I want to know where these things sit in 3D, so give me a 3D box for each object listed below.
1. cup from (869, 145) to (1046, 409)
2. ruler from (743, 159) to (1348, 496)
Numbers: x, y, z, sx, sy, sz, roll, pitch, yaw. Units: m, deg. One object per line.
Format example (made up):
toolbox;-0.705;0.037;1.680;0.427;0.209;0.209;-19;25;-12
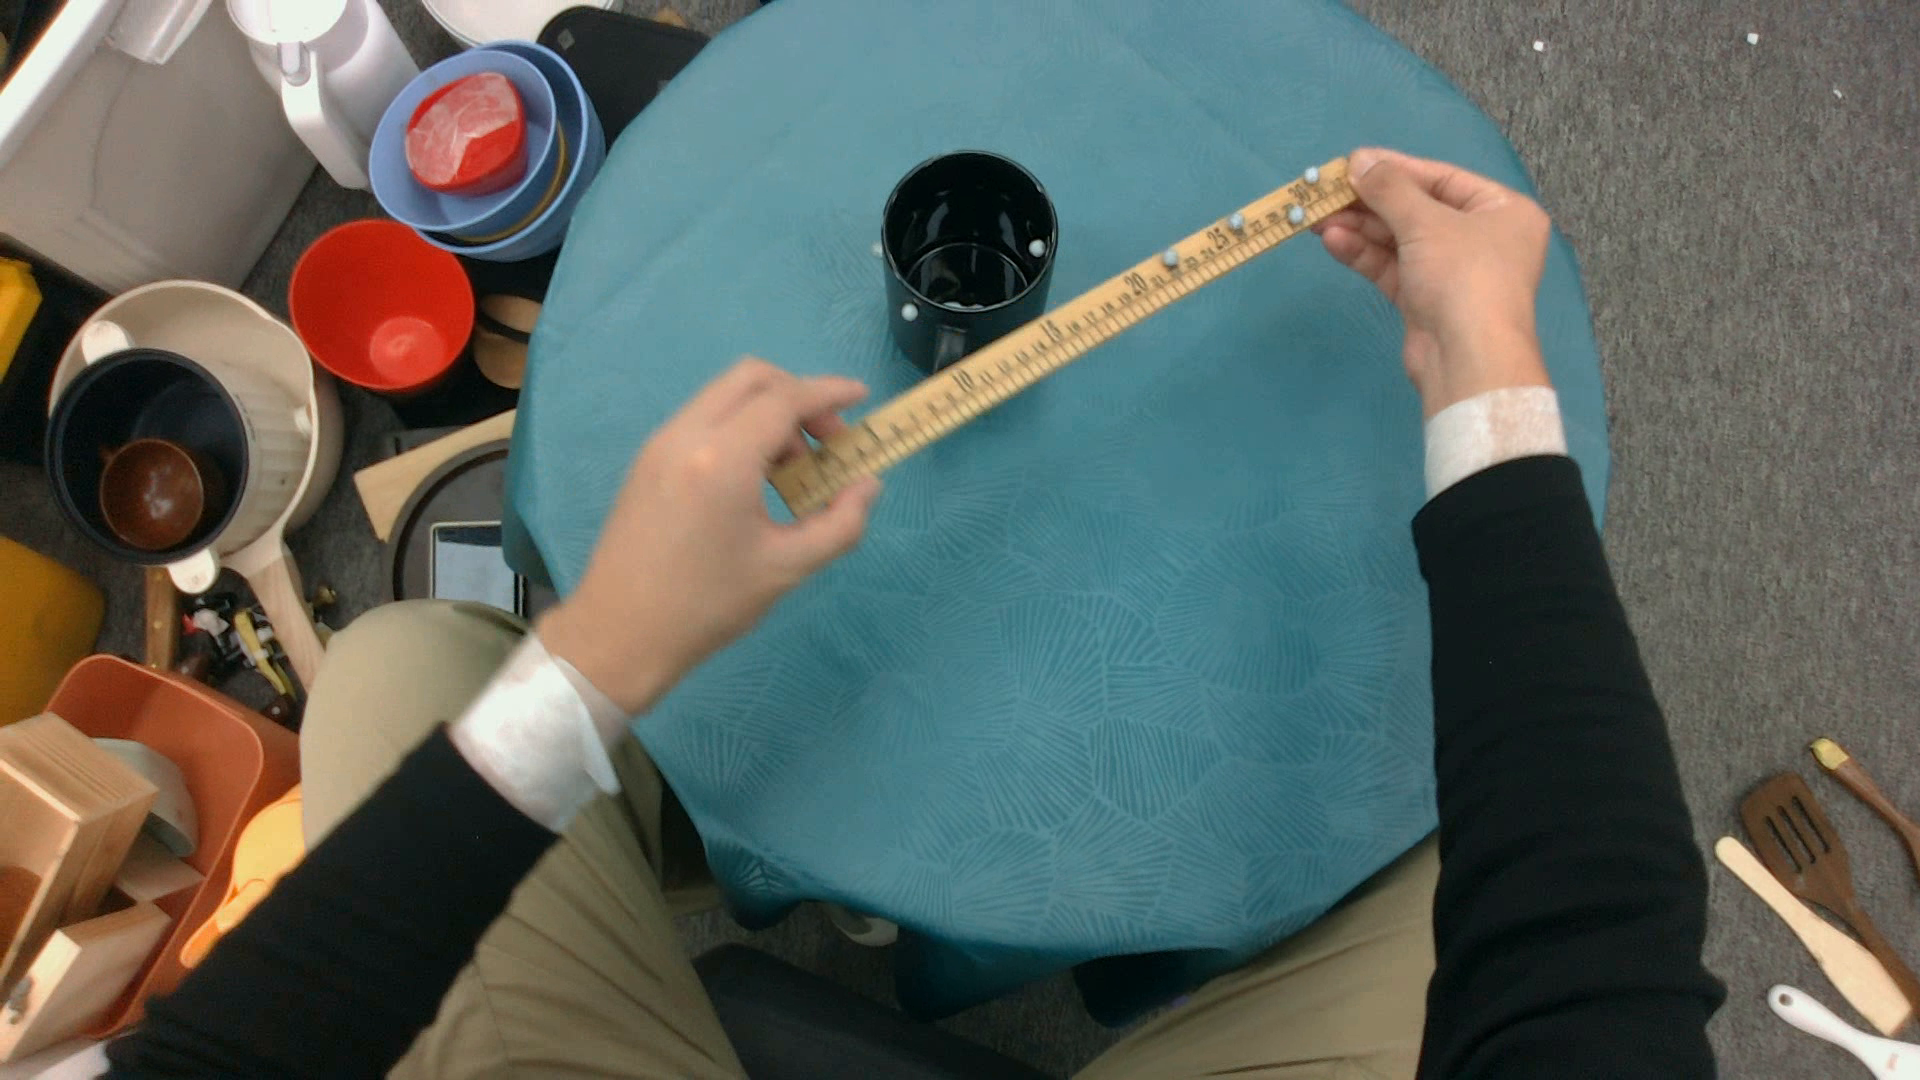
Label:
cup;-0.007;-0.129;0.724;0.088;0.105;0.124;11;77;-1
ruler;0.050;-0.107;0.648;0.333;0.022;0.027;-29;68;-15
